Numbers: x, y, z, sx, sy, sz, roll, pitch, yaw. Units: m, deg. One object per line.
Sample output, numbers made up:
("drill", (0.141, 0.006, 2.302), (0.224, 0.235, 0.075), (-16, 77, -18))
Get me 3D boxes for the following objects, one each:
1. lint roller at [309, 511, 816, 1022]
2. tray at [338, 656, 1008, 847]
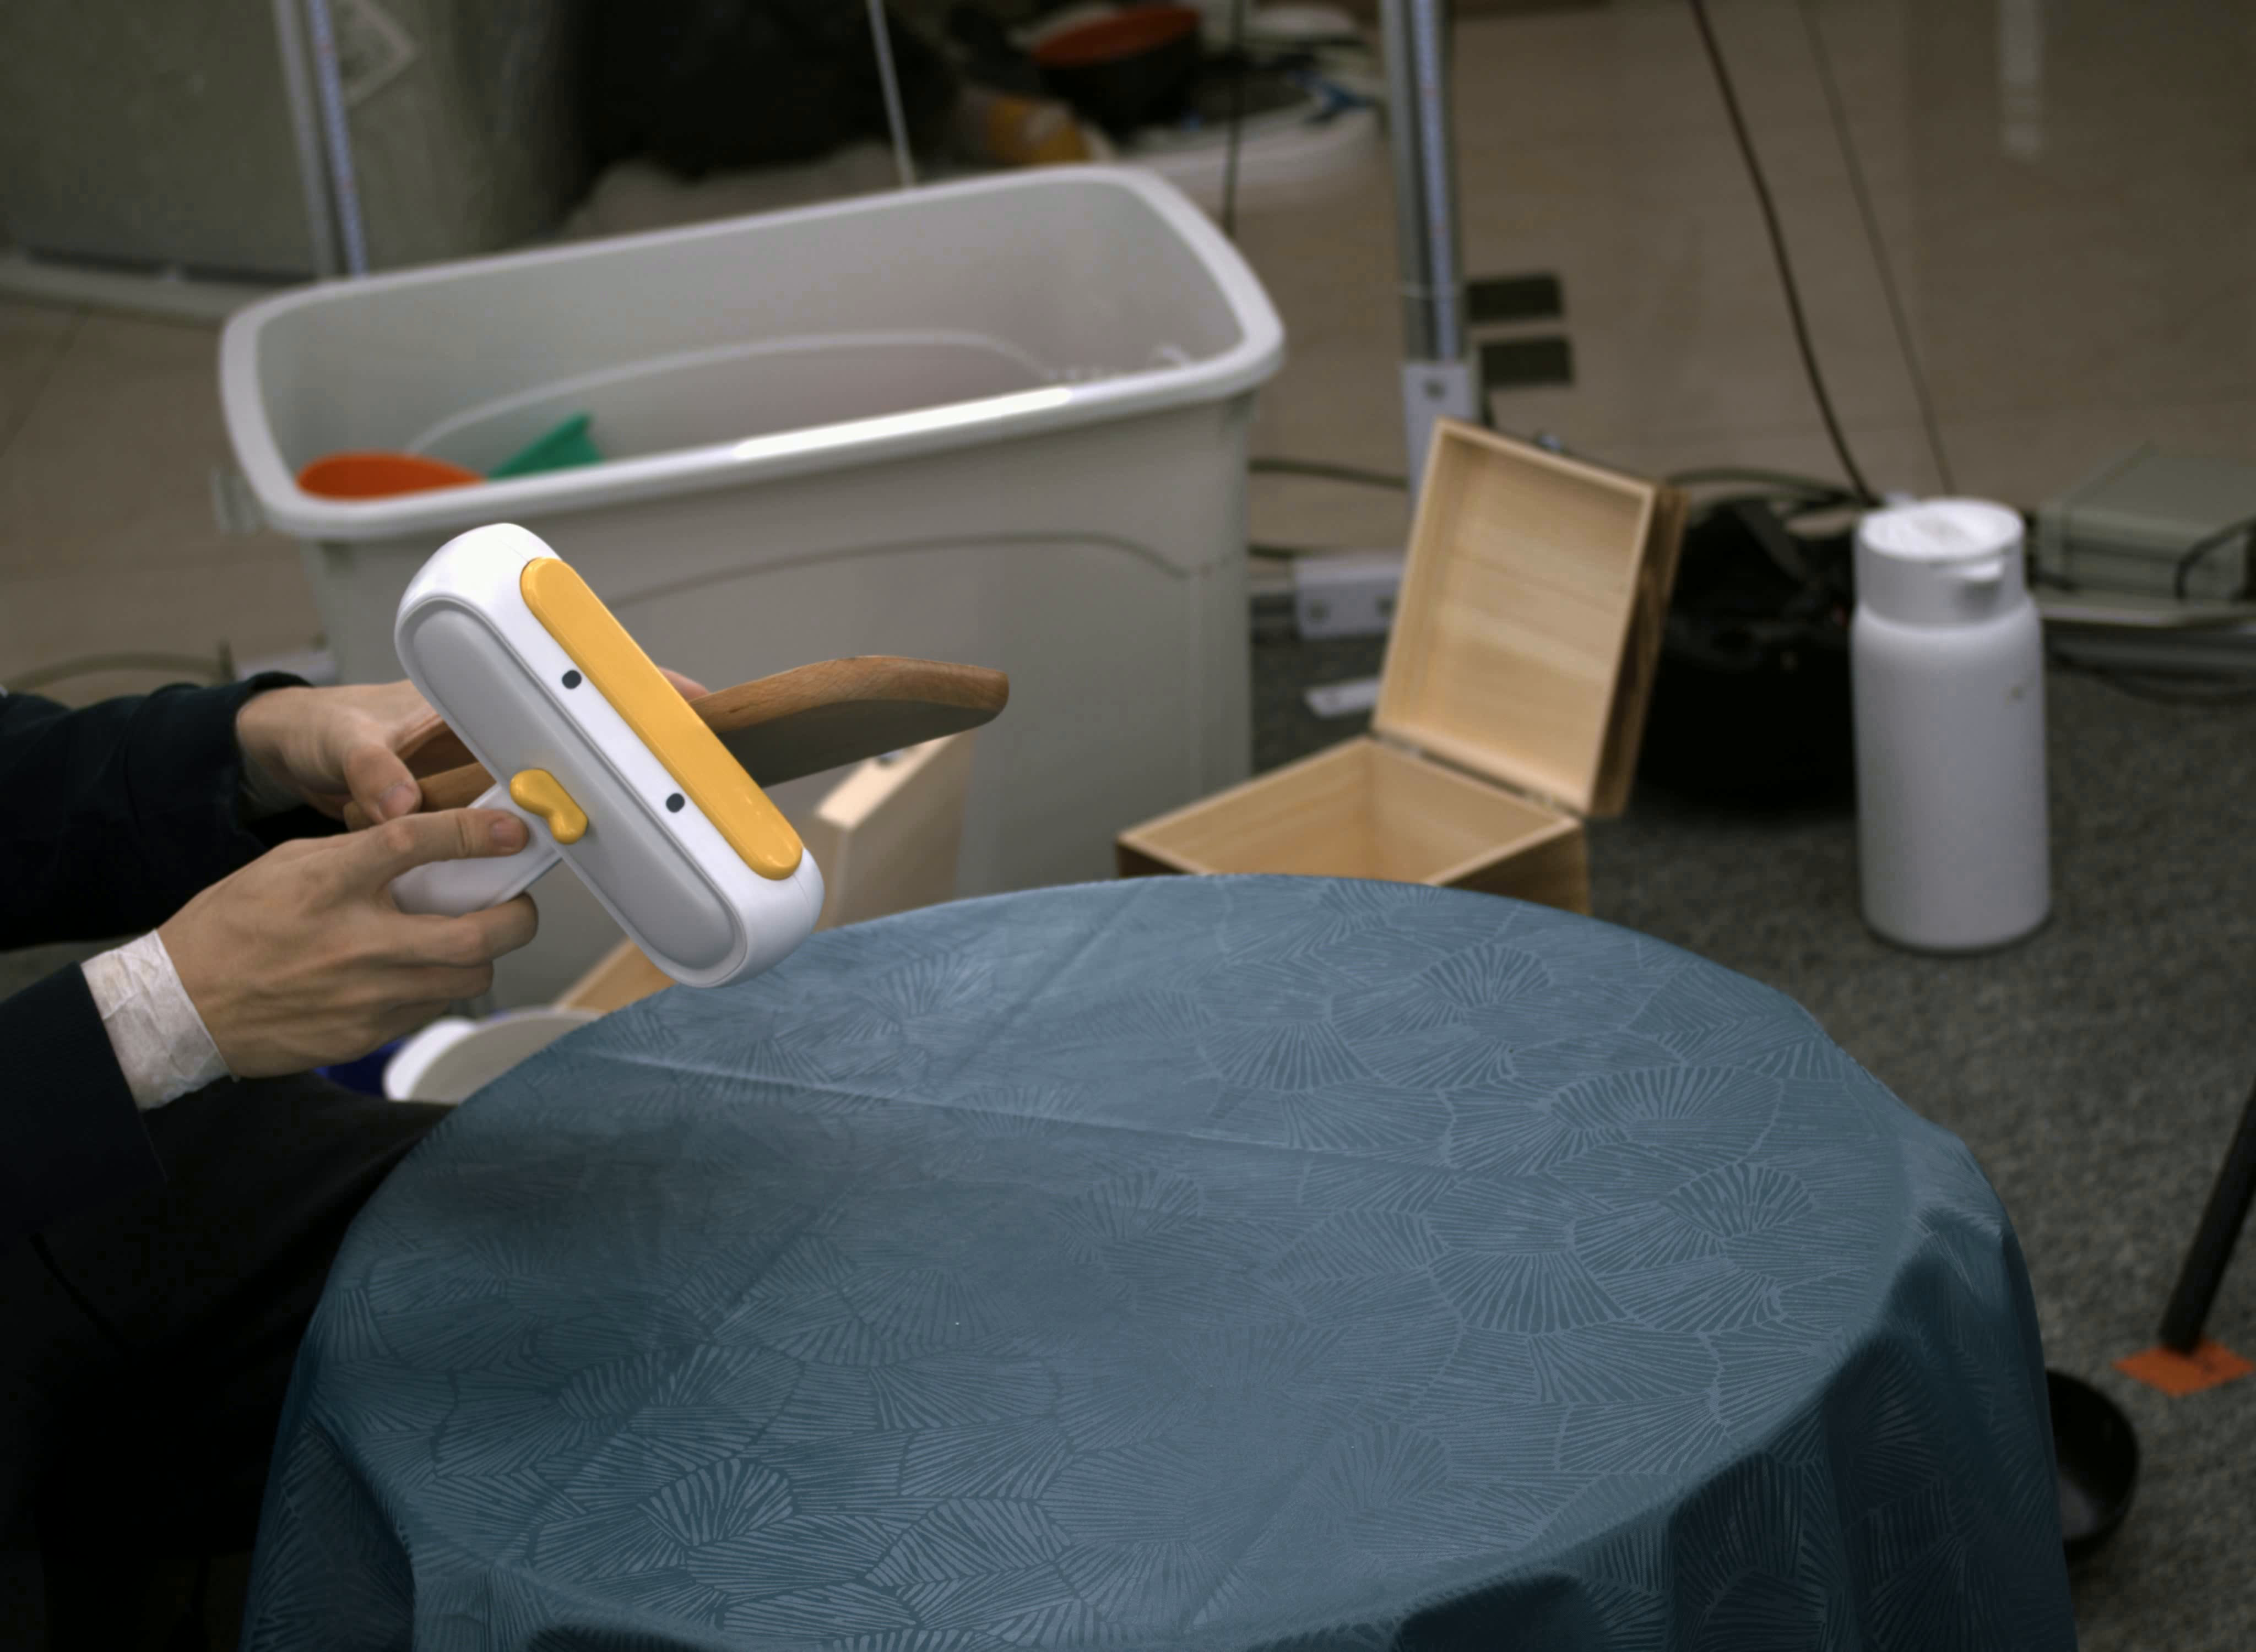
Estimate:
("lint roller", (-0.230, 0.003, 2.067), (0.194, 0.193, 0.073), (-40, 11, 39))
("tray", (-0.172, -0.025, 2.132), (0.251, 0.023, 0.131), (-15, -13, 30))
